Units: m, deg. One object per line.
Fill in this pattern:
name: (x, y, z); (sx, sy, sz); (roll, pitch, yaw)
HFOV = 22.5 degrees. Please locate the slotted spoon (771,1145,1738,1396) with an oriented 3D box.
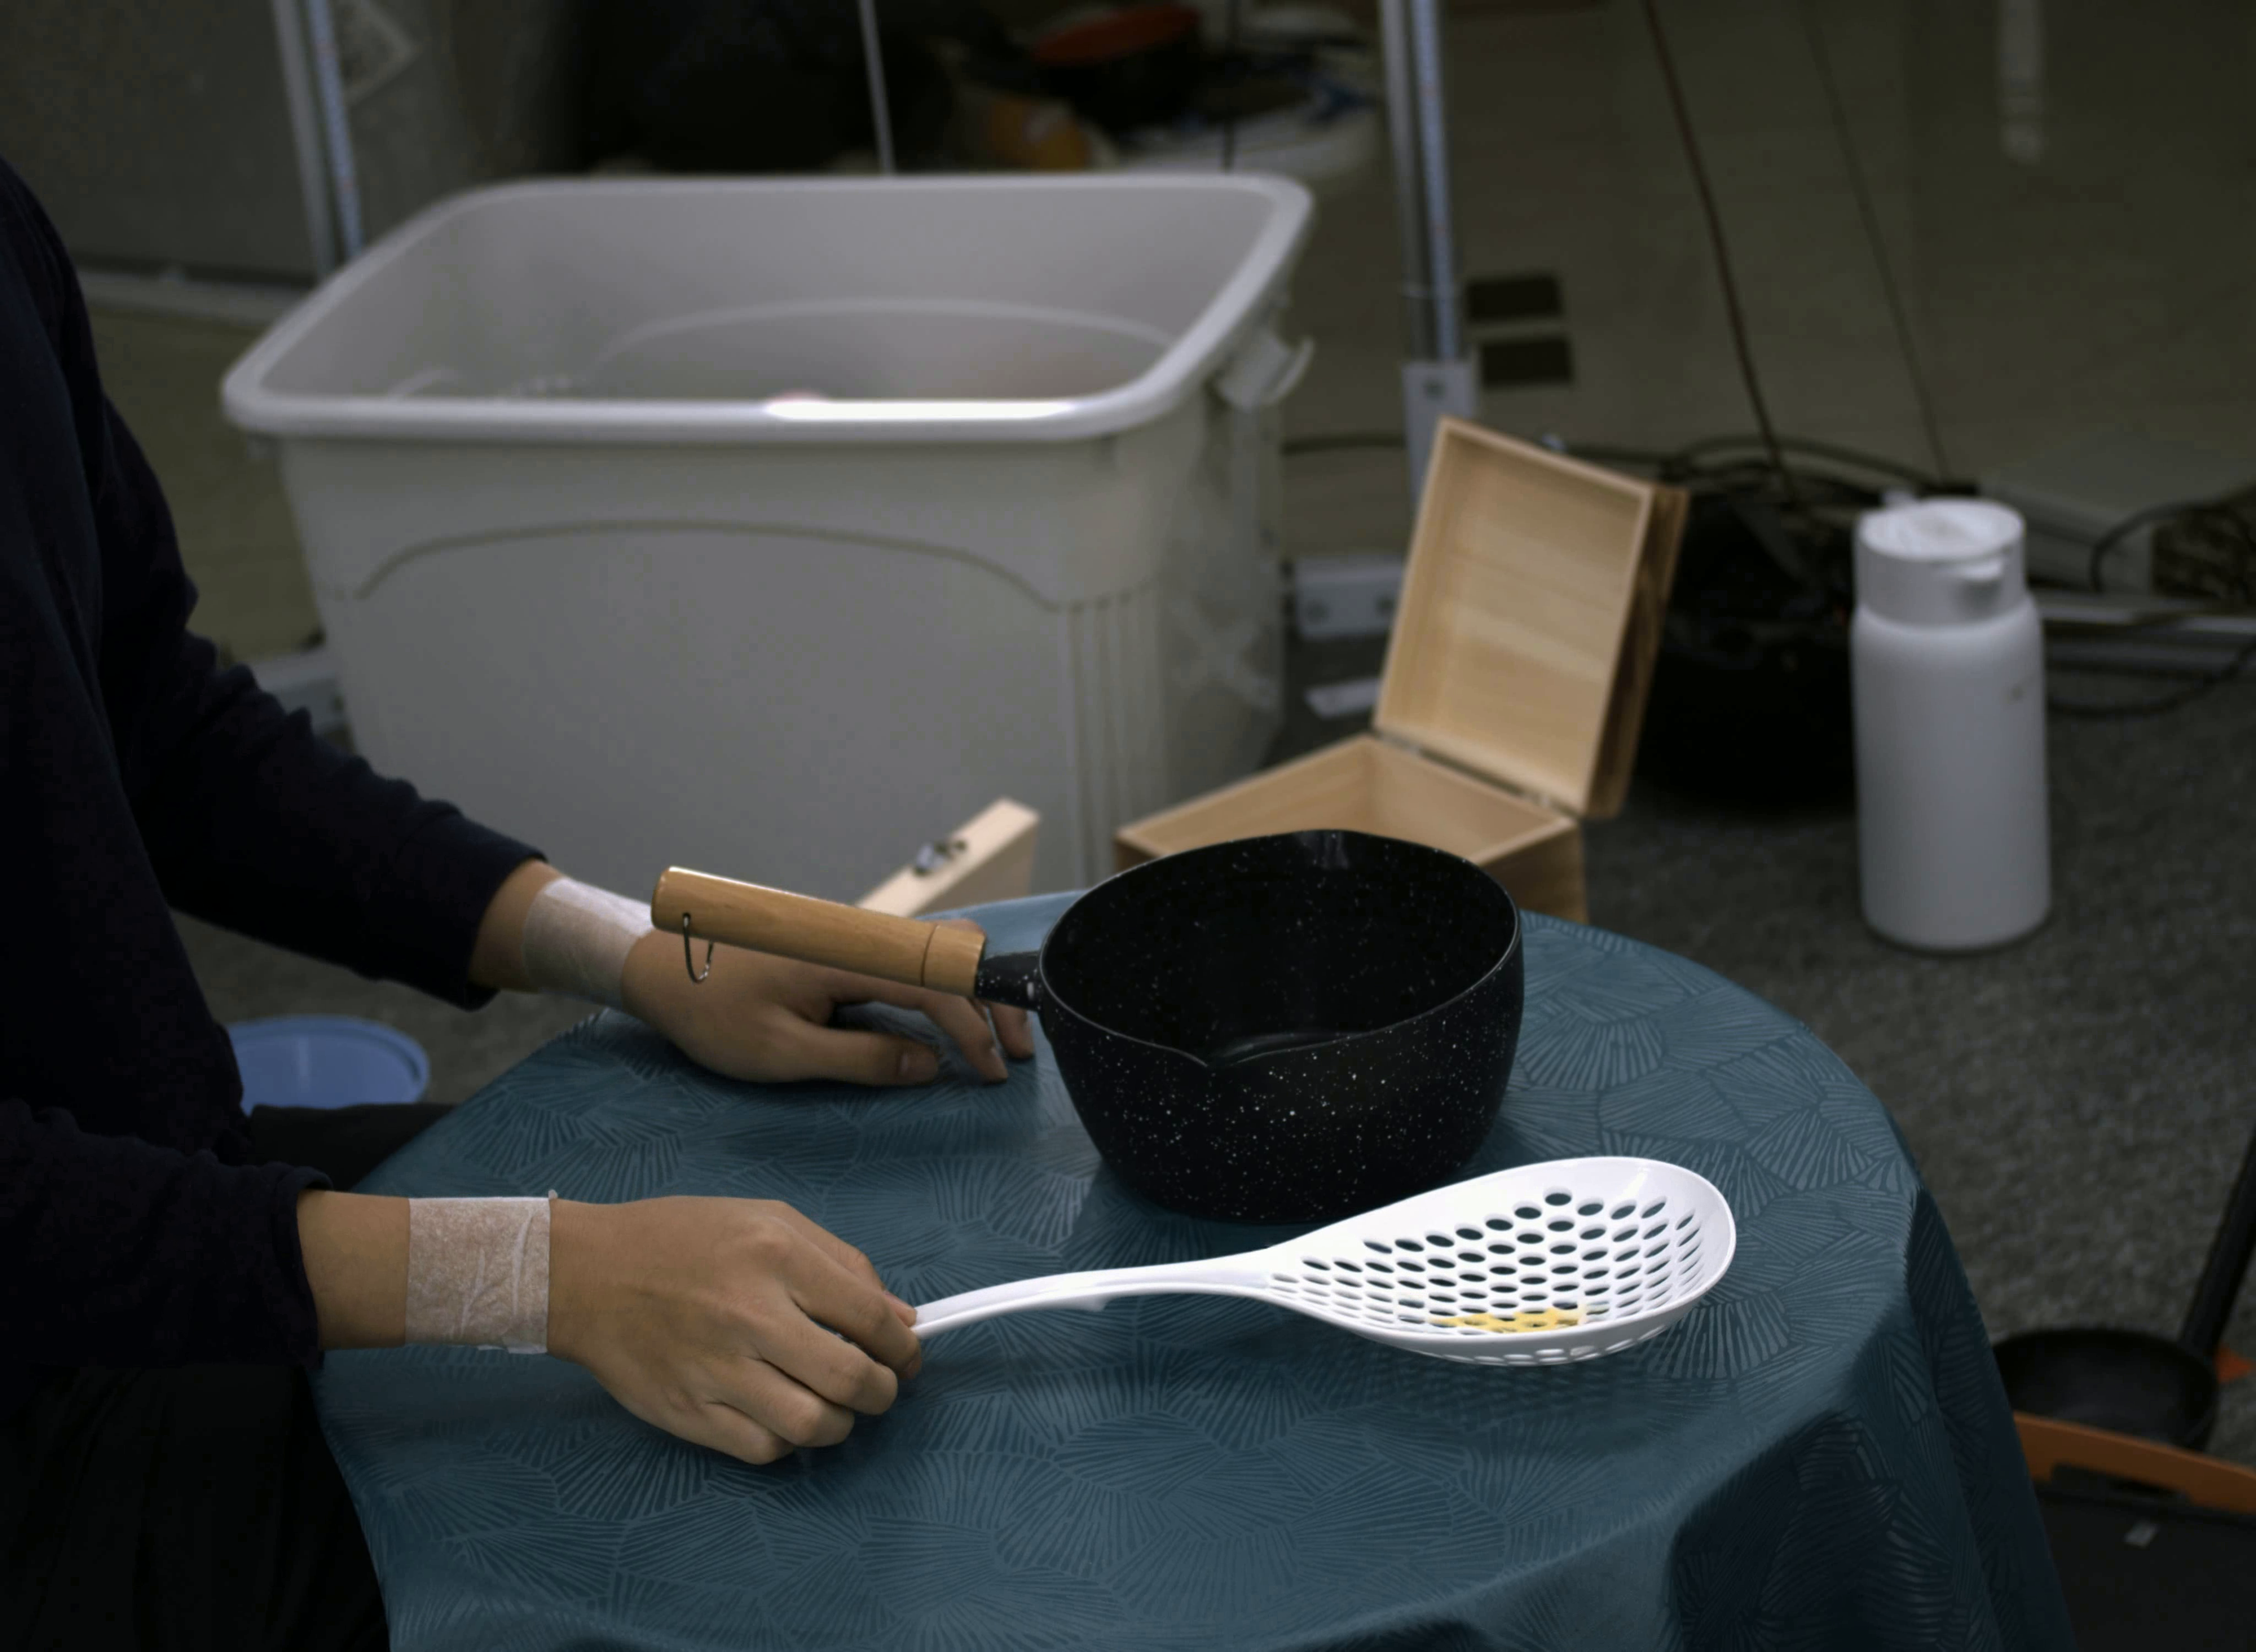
slotted spoon: (0.043, 0.169, 2.020); (0.347, 0.051, 0.135); (-3, 24, 5)

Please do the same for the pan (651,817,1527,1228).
pan: (-0.017, 0.069, 2.172); (0.342, 0.110, 0.204); (1, 27, 13)
